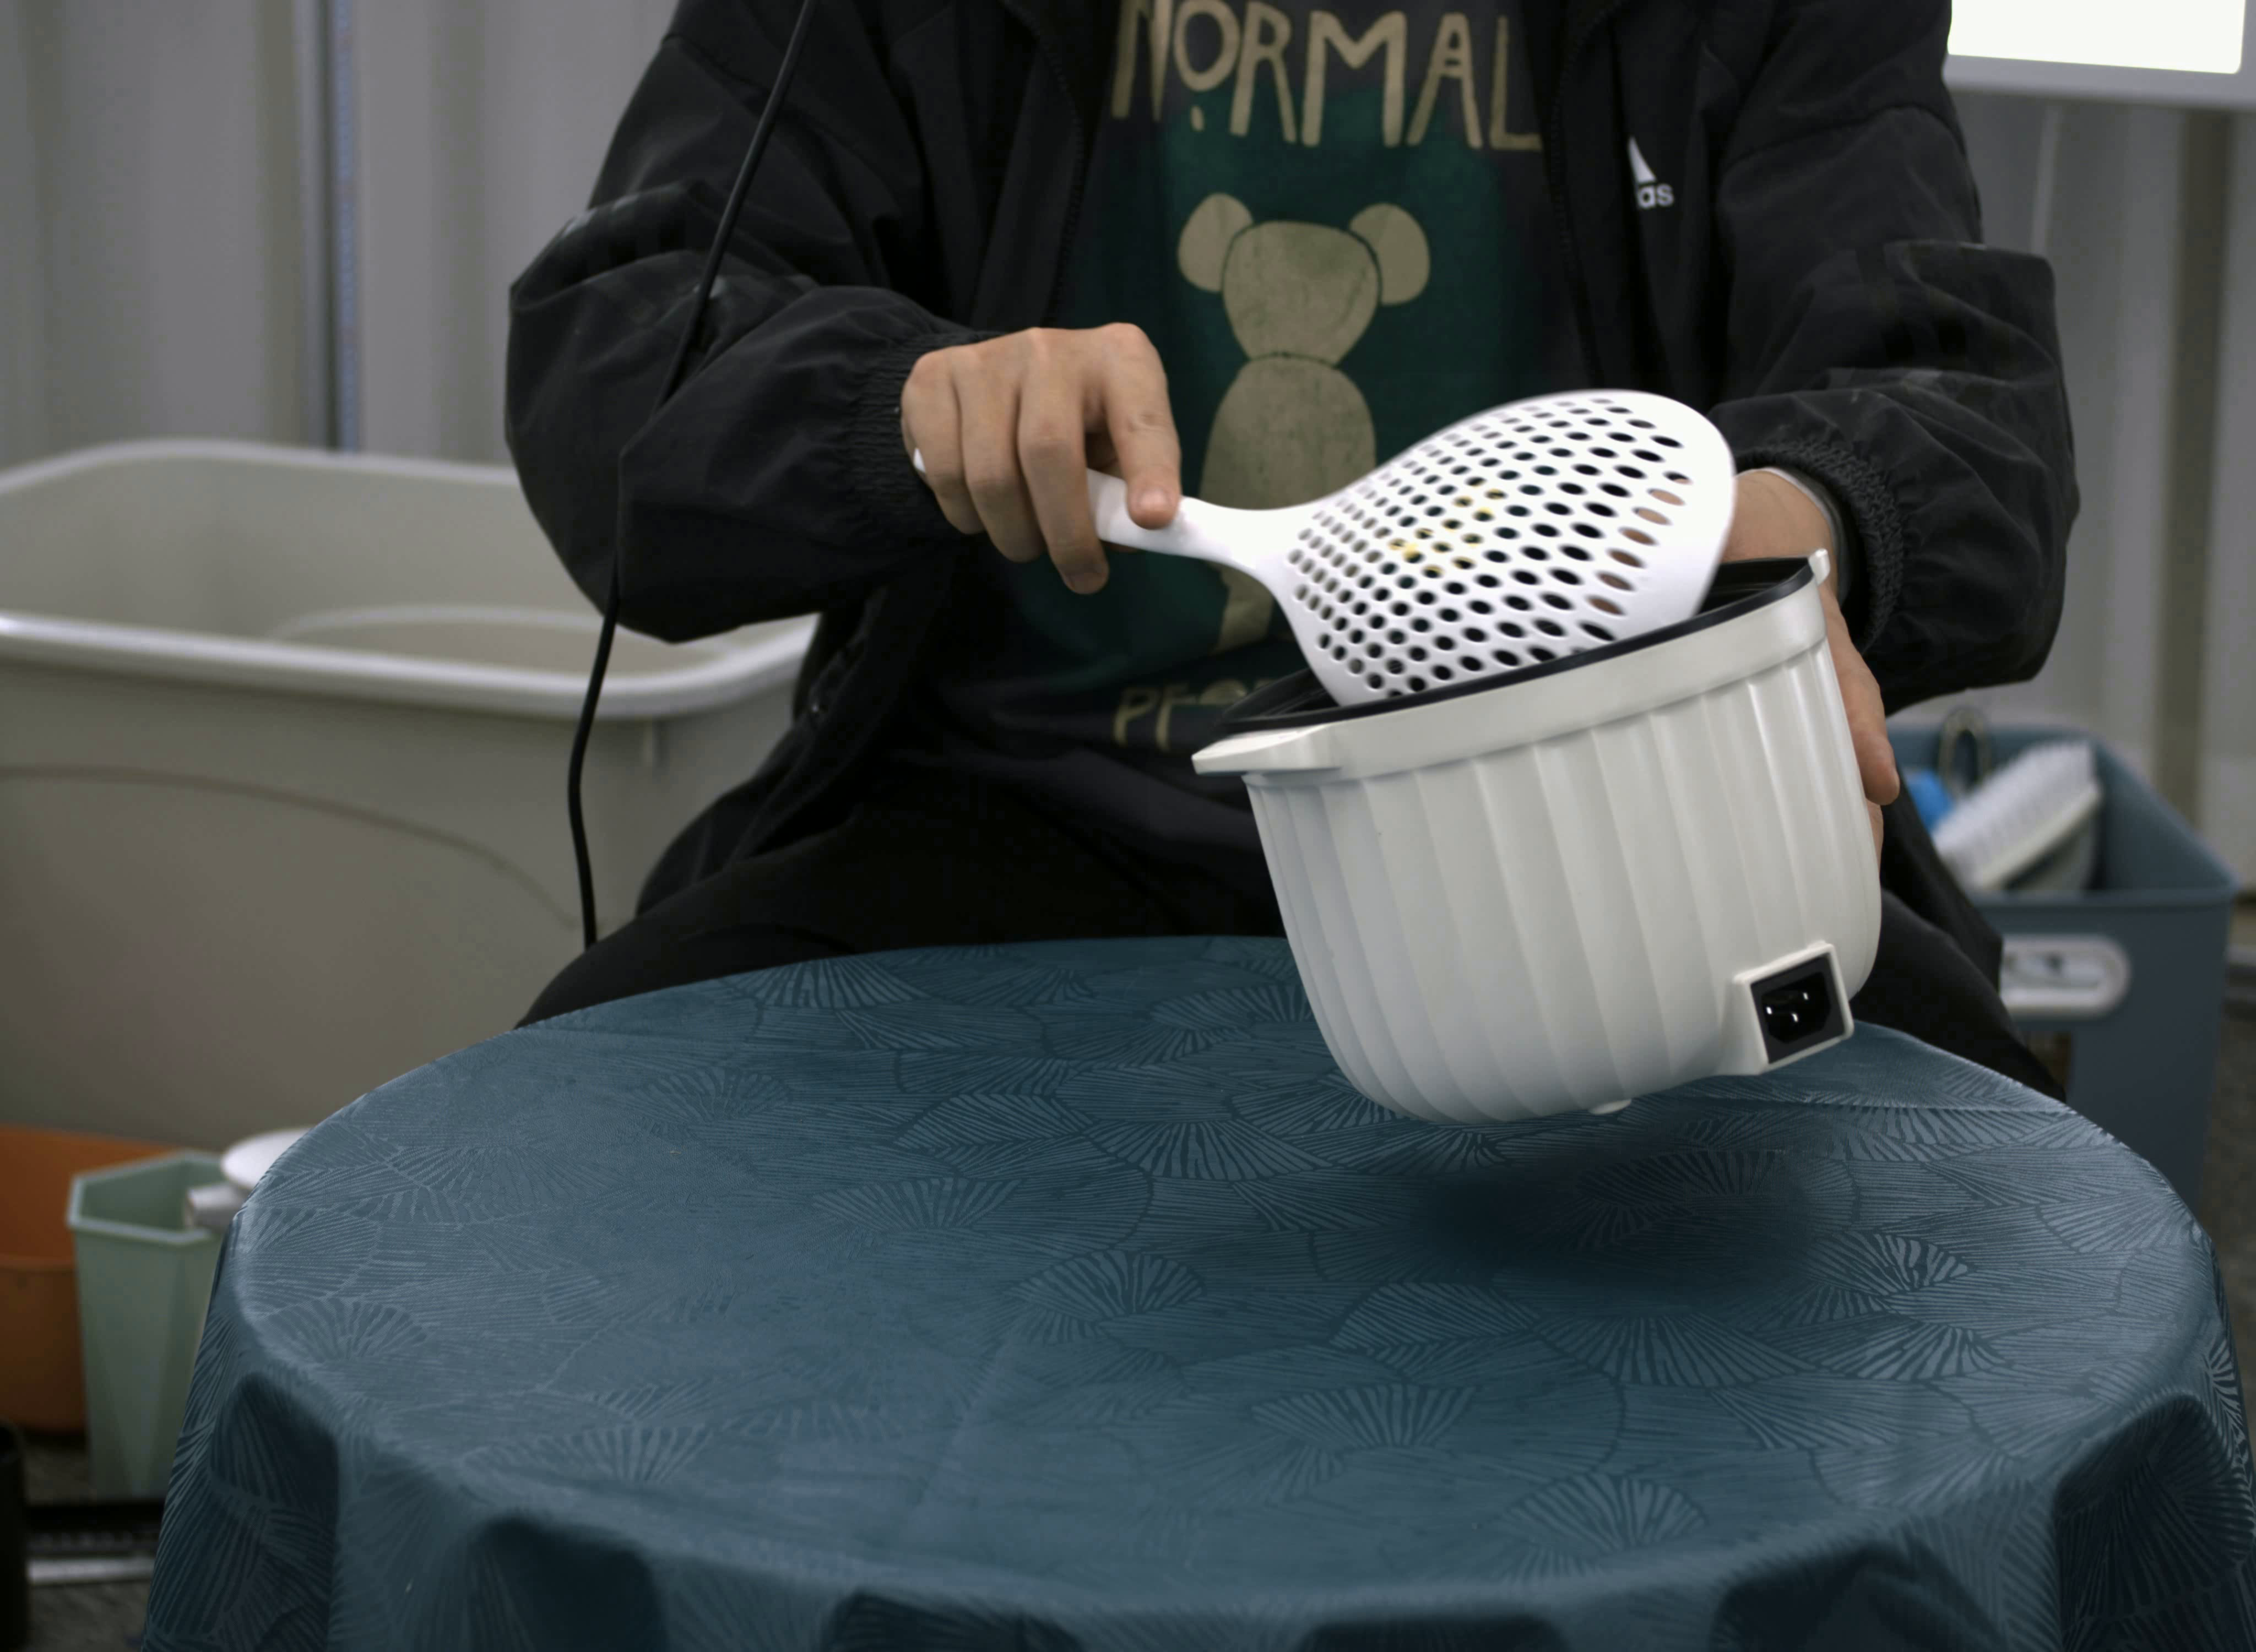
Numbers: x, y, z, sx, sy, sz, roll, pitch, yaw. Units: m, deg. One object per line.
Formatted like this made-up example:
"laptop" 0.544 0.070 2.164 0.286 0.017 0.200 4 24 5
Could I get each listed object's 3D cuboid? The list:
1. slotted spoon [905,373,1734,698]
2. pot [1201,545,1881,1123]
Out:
"slotted spoon" 0.046 -0.098 1.660 0.051 0.137 0.343 31 -12 -38
"pot" 0.129 0.007 1.582 0.241 0.143 0.188 -18 12 -34
